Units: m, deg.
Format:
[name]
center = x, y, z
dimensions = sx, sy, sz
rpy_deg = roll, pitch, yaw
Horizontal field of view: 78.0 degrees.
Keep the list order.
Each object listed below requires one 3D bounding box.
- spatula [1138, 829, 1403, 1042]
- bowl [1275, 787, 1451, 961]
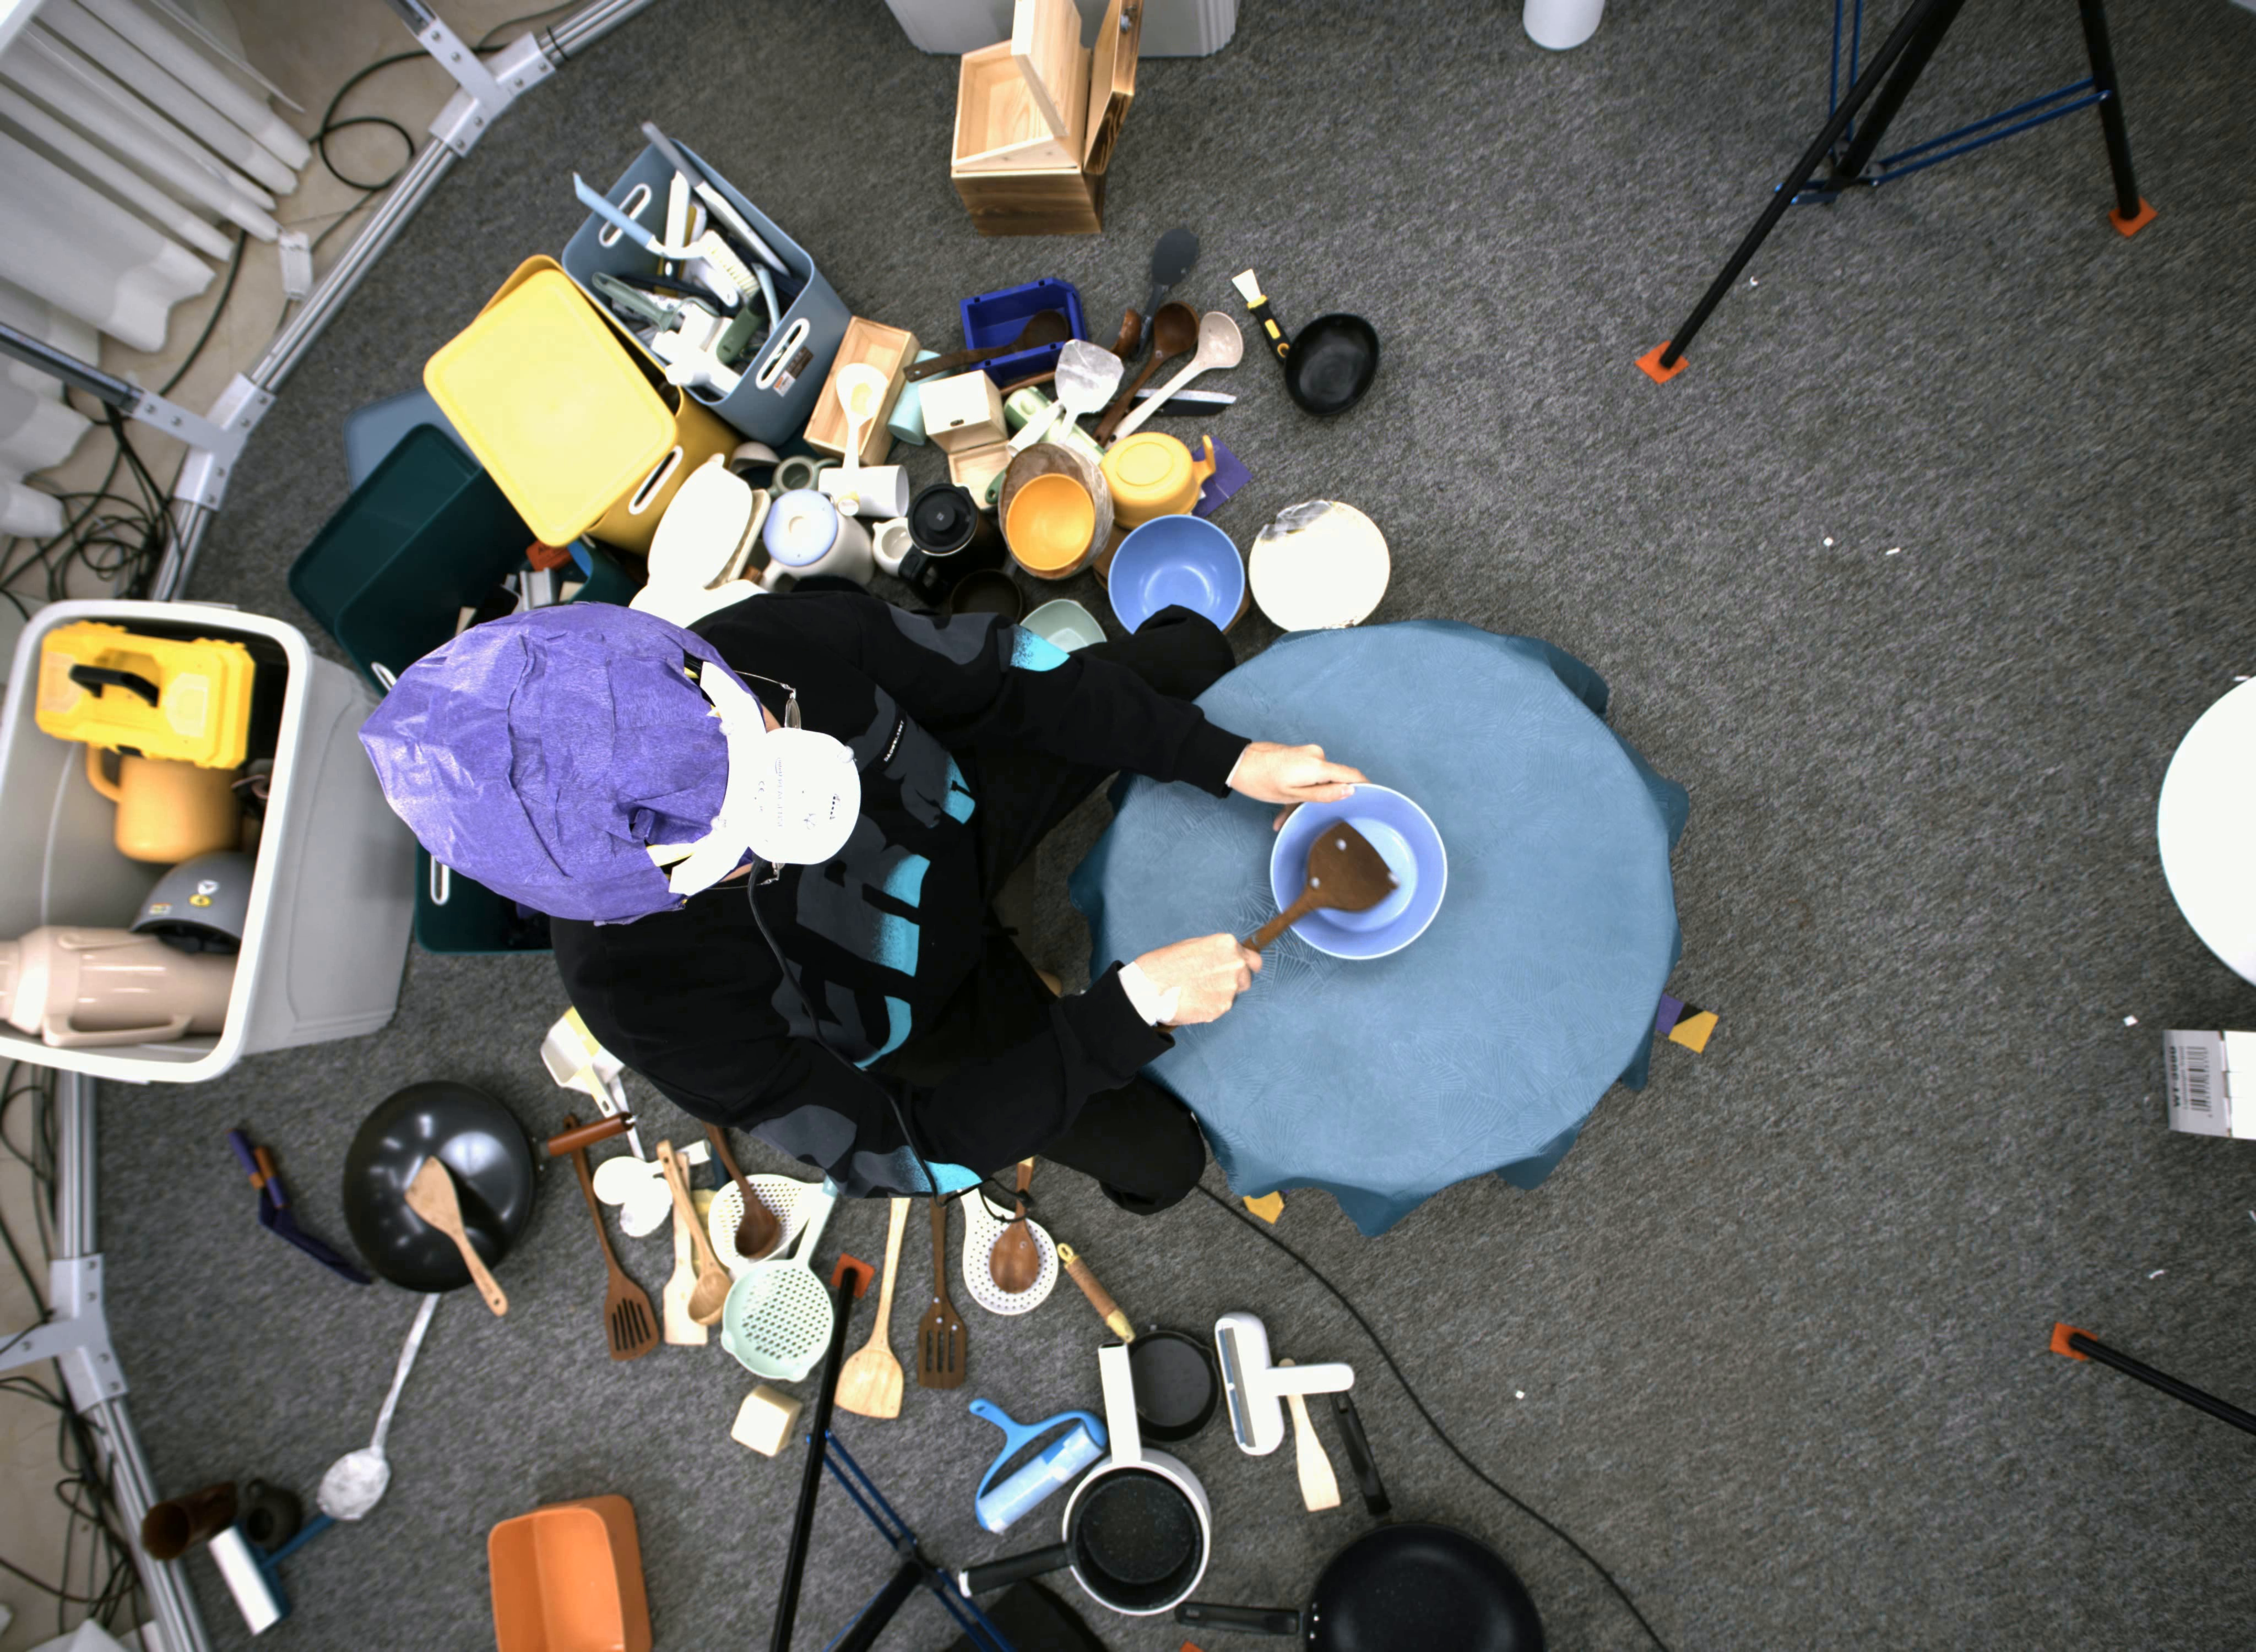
[spatula]
center = 0.138, 0.106, 1.318
dimensions = 0.095, 0.378, 0.016
rpy_deg = 51, 139, 9
[bowl]
center = 0.242, 0.049, 1.417
dimensions = 0.177, 0.070, 0.176
rpy_deg = 0, 91, 14
